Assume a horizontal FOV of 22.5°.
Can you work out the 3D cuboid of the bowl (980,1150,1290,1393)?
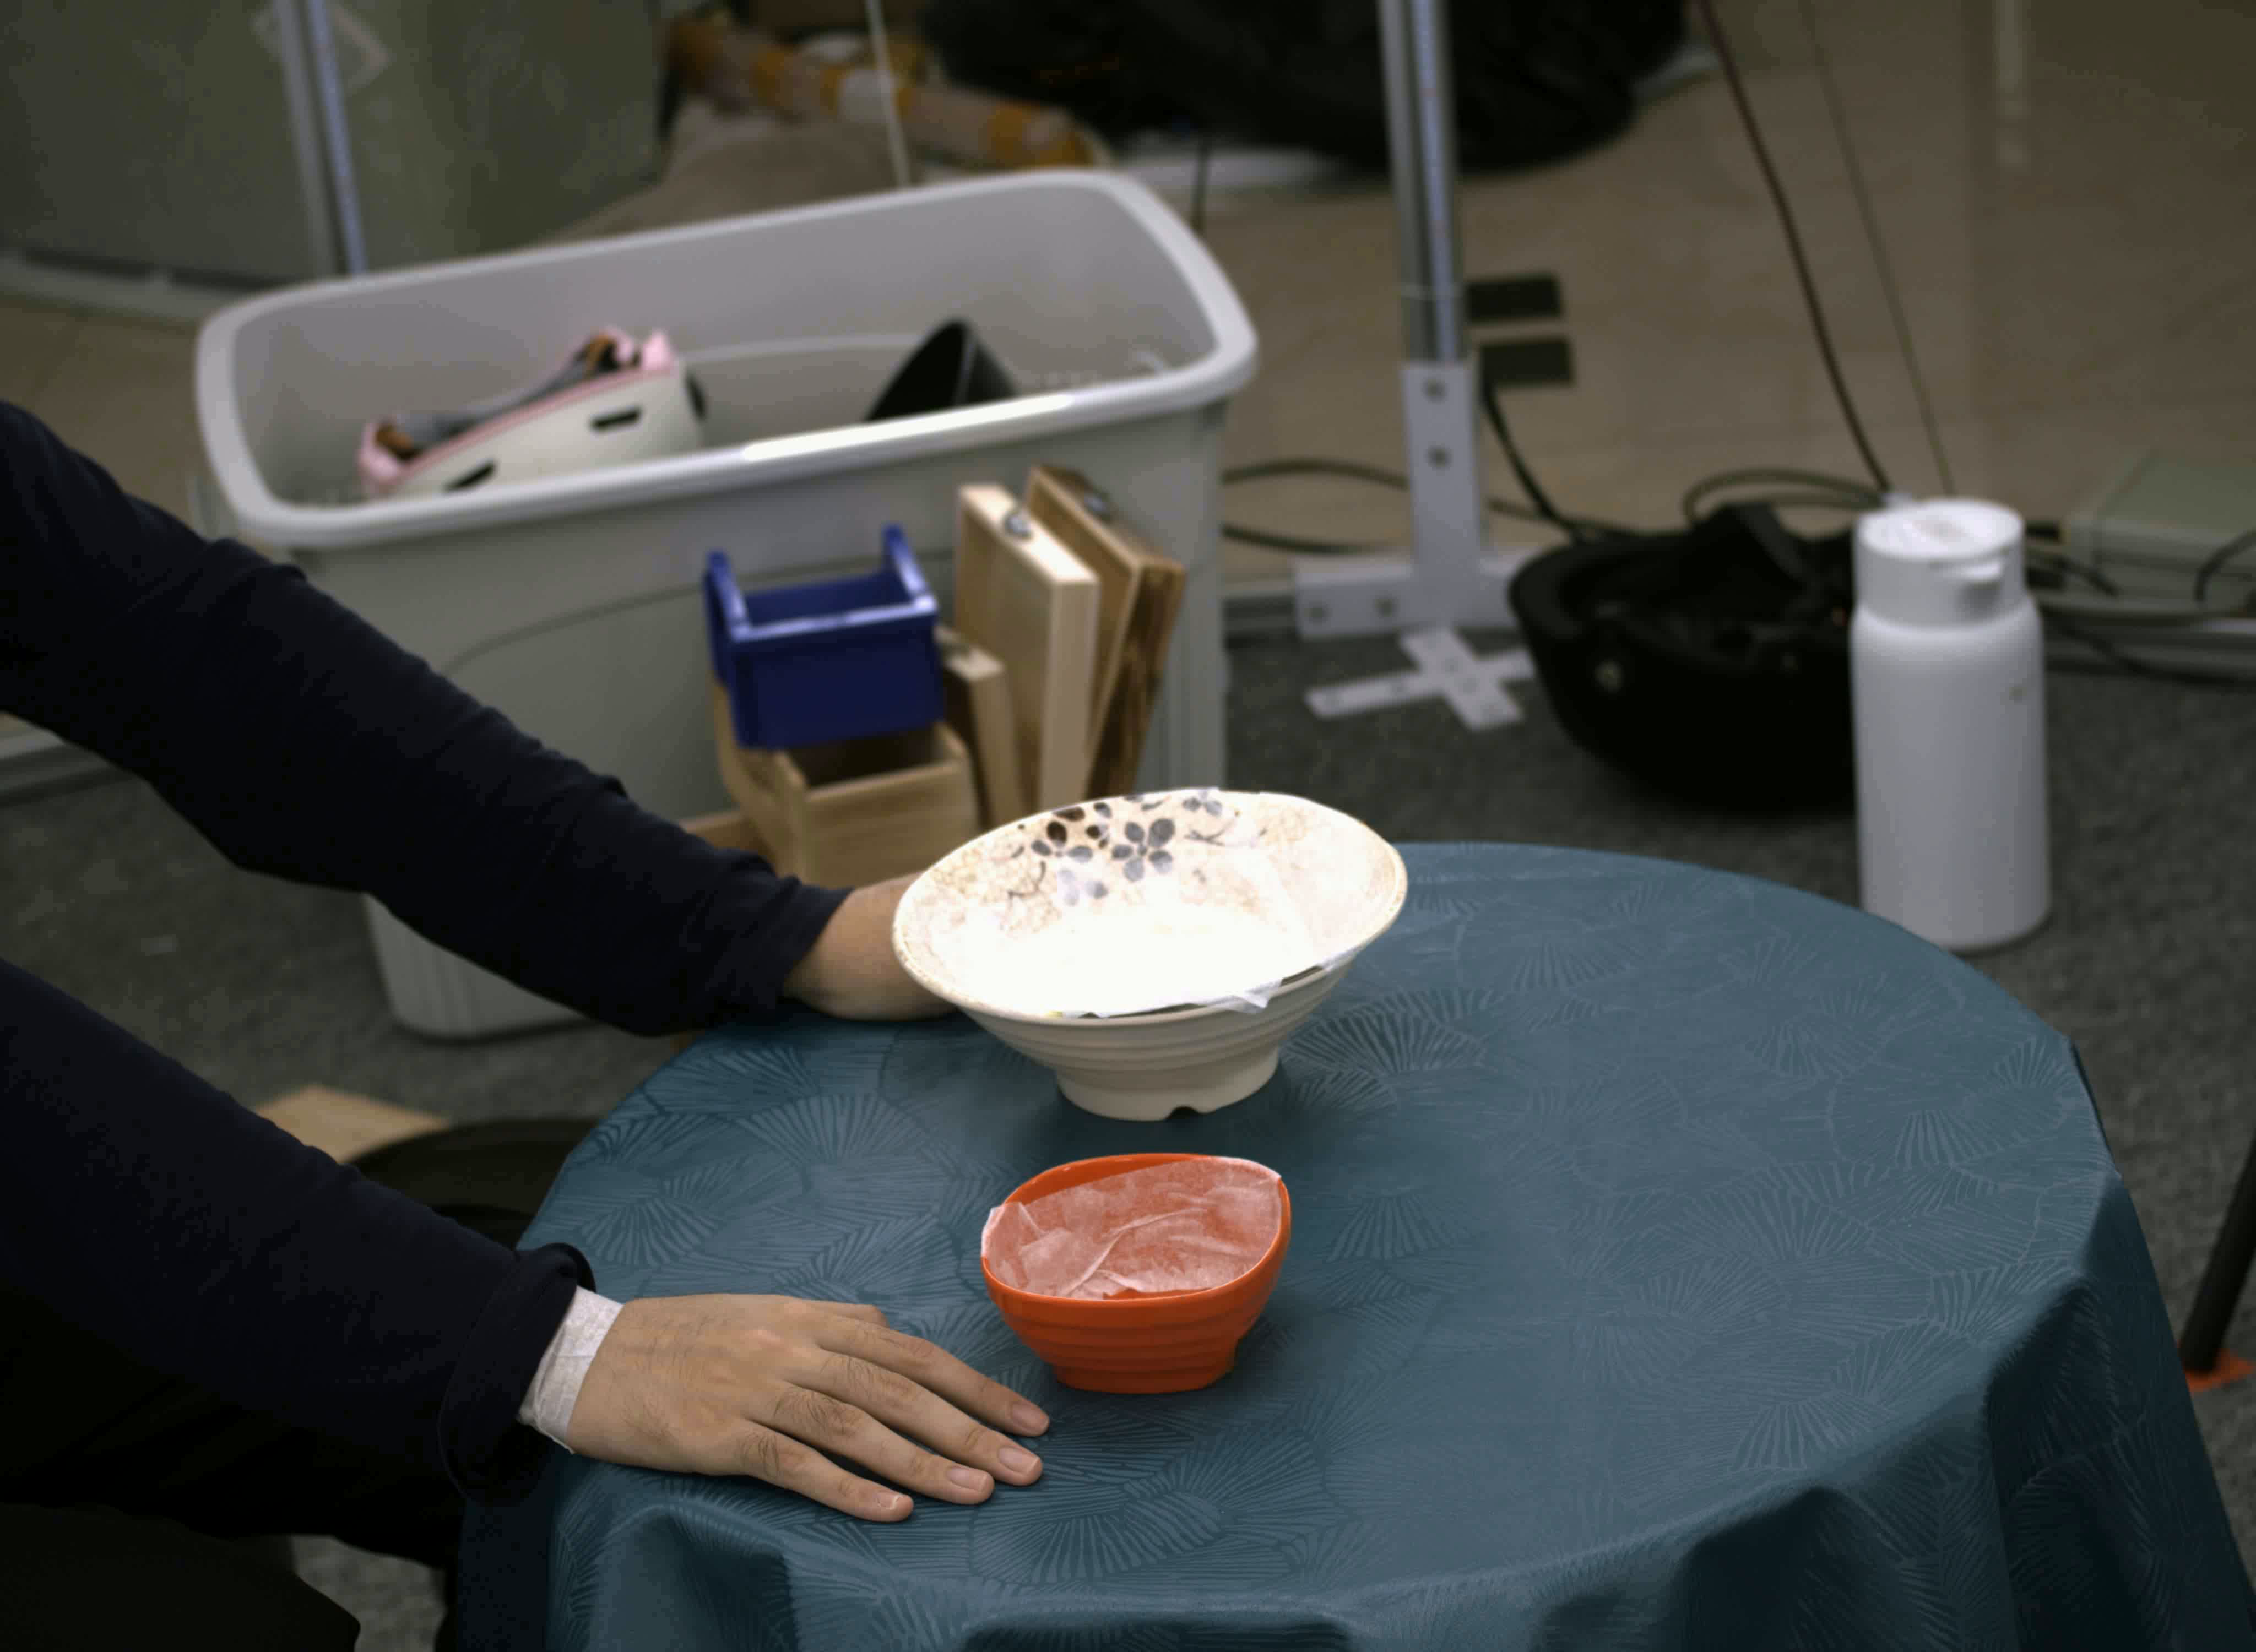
[{"bbox_3d":[0.005,0.164,2.034,0.119,0.052,0.117,-5,26,3],"label":"bowl"}]

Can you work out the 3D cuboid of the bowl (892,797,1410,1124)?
[{"bbox_3d":[0.013,0.063,2.222,0.203,0.079,0.201,-6,24,3],"label":"bowl"}]
